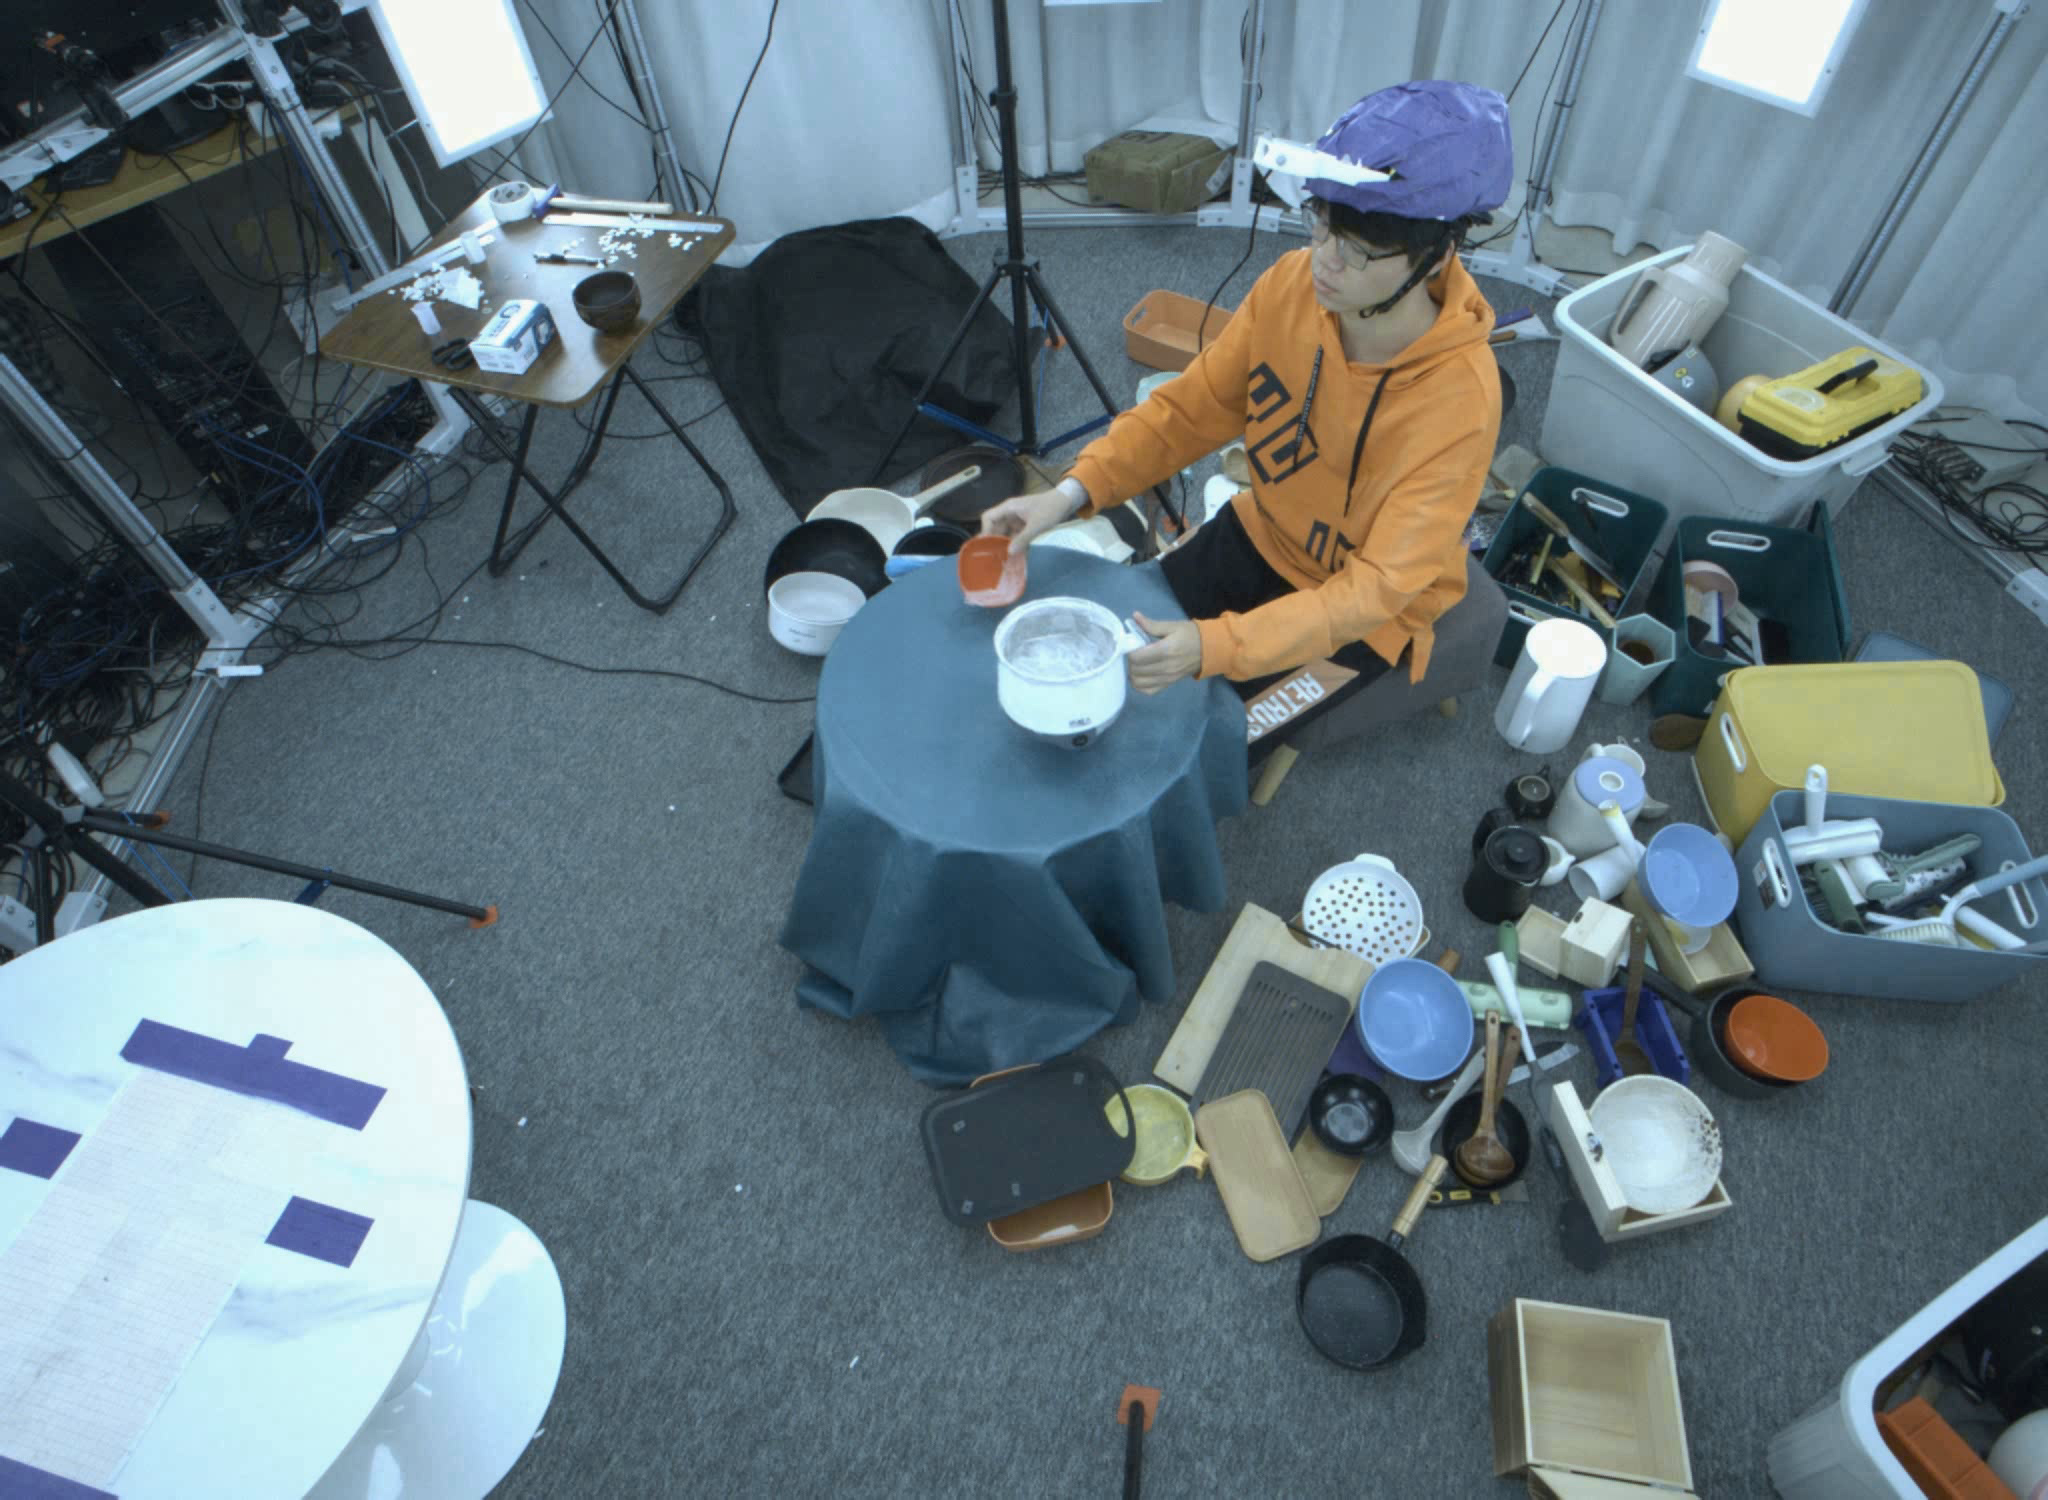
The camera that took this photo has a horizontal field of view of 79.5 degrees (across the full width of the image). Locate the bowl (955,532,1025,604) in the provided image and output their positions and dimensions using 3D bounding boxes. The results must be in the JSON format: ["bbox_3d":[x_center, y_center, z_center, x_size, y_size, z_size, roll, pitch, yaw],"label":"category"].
[{"bbox_3d":[-0.059,-0.280,1.900,0.120,0.050,0.119,-1,94,-21],"label":"bowl"}]

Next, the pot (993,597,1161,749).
[{"bbox_3d":[0.077,-0.113,1.704,0.235,0.138,0.175,-14,47,-11],"label":"pot"}]
